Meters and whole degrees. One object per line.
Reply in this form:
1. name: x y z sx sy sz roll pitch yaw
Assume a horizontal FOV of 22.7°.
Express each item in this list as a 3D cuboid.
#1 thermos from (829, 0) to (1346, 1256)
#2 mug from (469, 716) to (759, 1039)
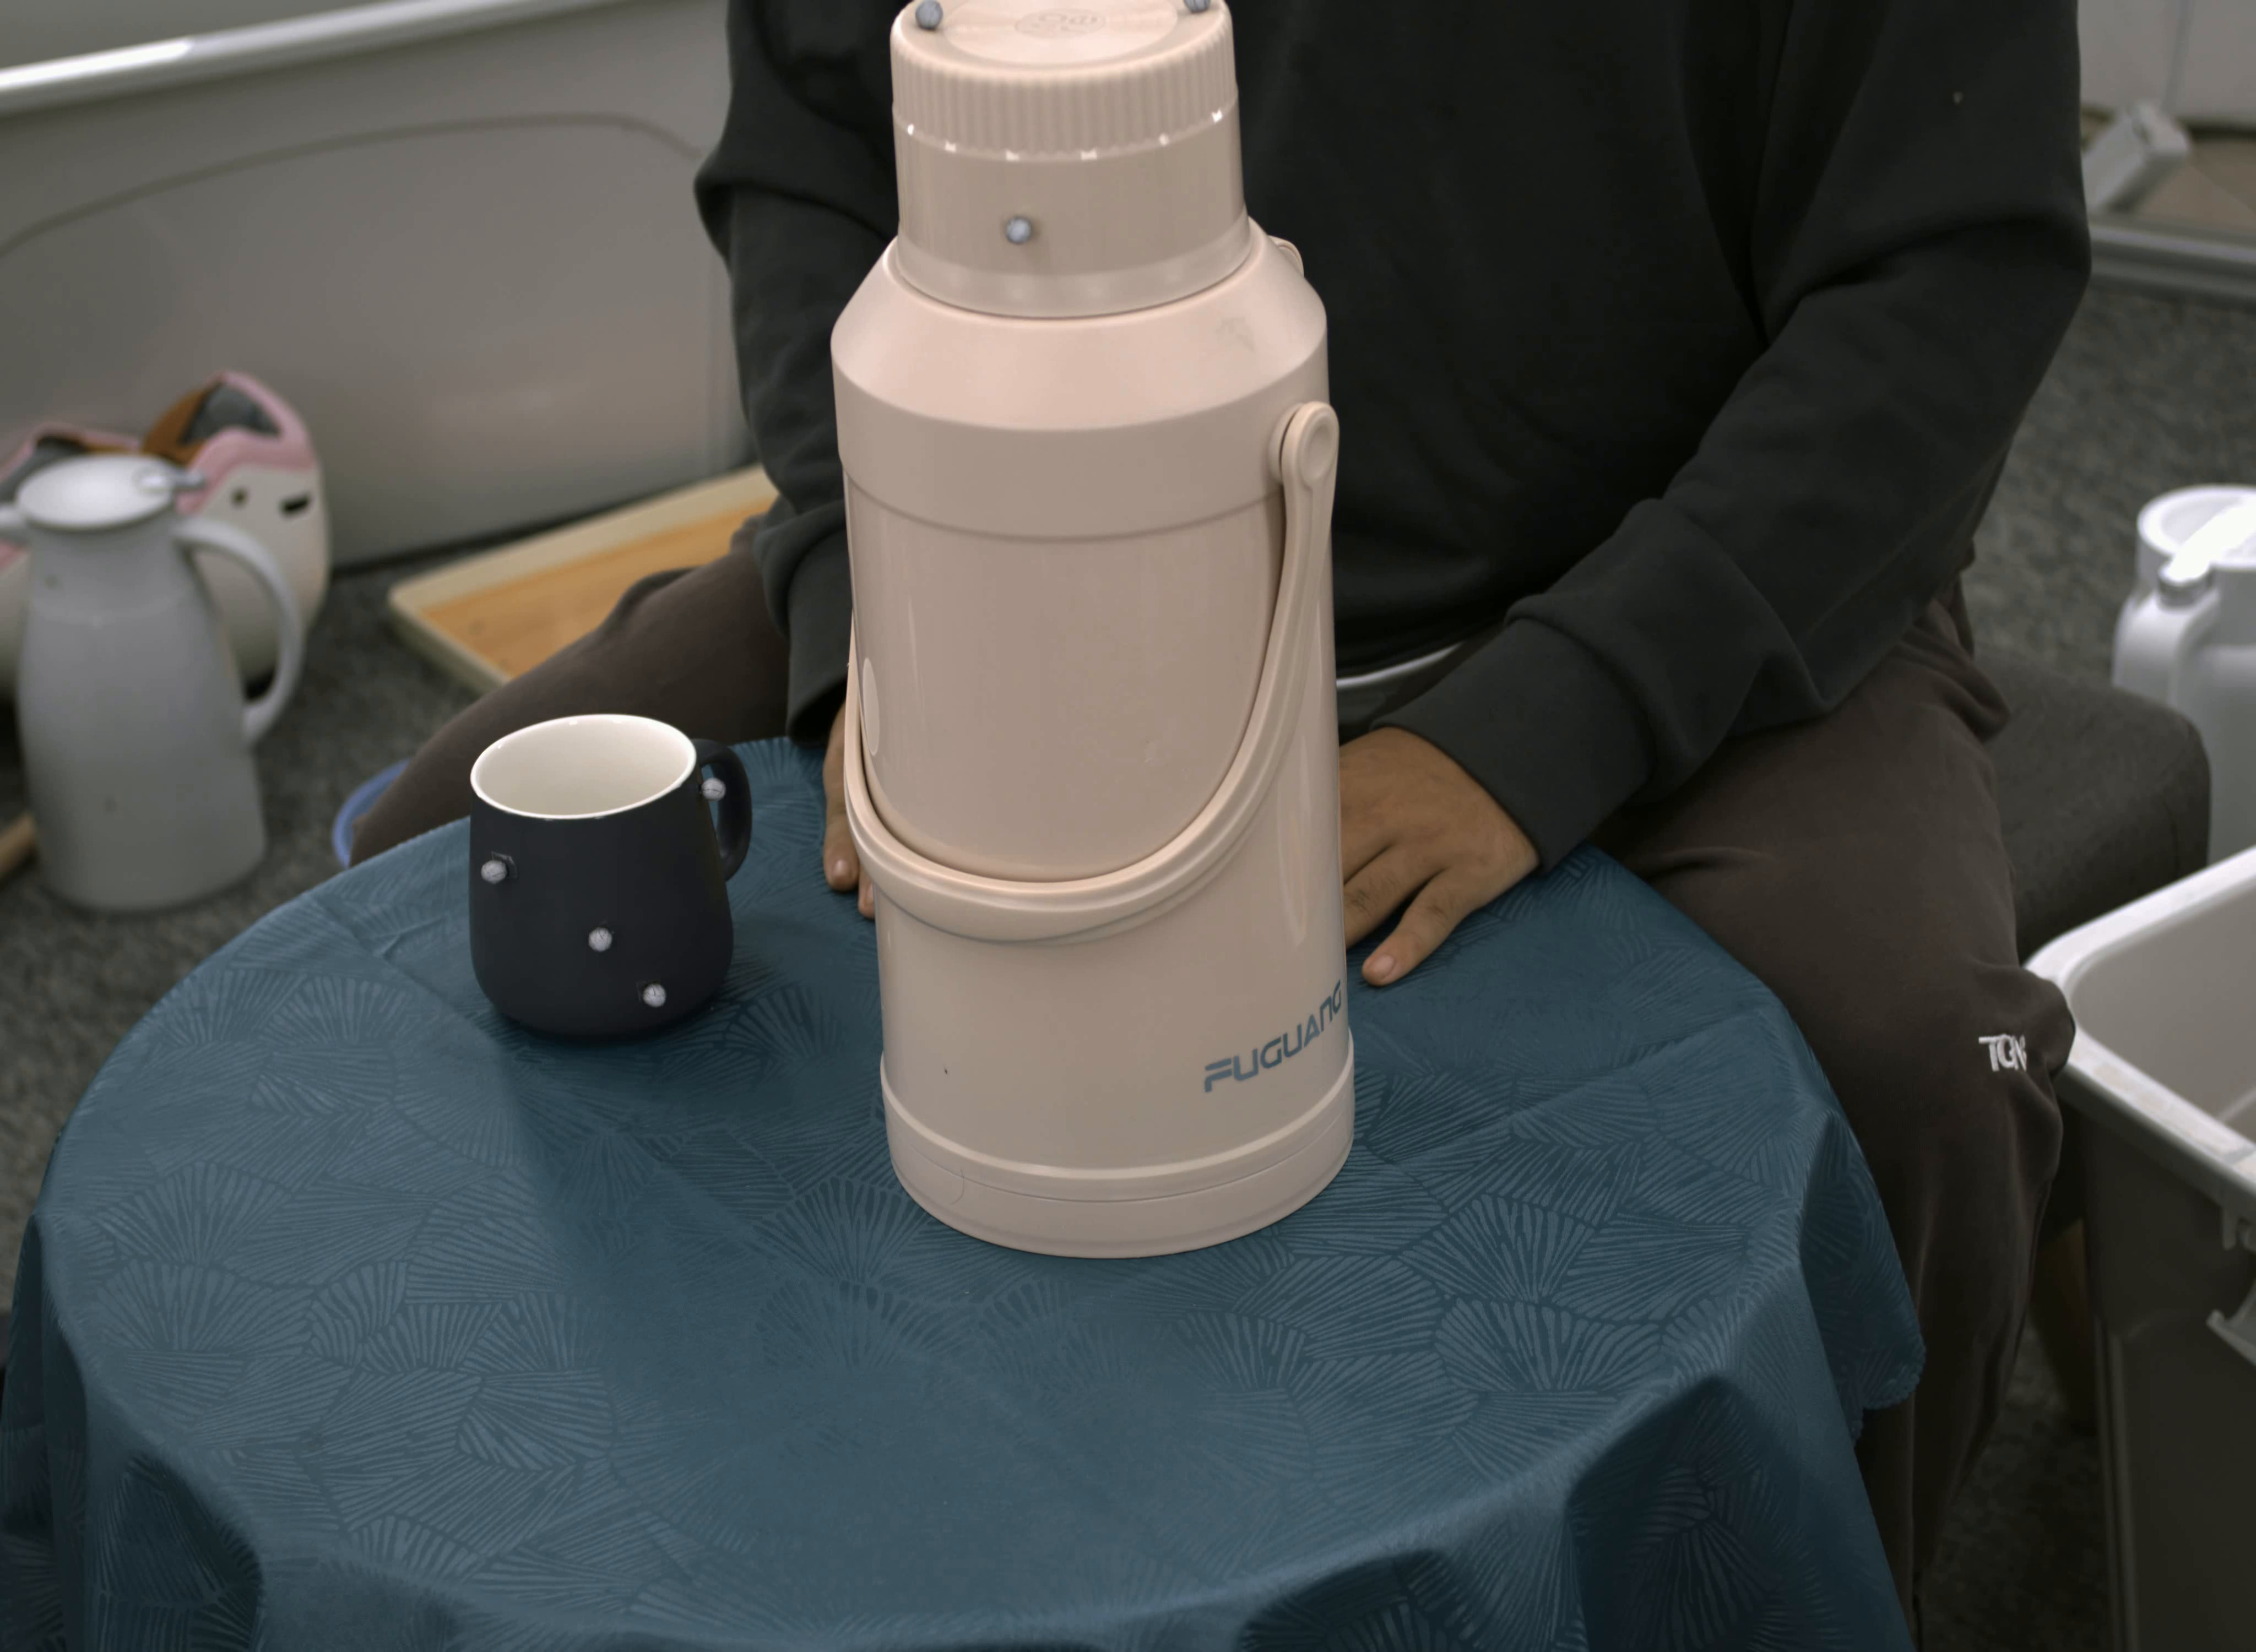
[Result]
1. thermos: -0.004 -0.077 1.823 0.174 0.402 0.210 13 31 30
2. mug: -0.178 0.013 1.992 0.093 0.089 0.125 19 34 37
